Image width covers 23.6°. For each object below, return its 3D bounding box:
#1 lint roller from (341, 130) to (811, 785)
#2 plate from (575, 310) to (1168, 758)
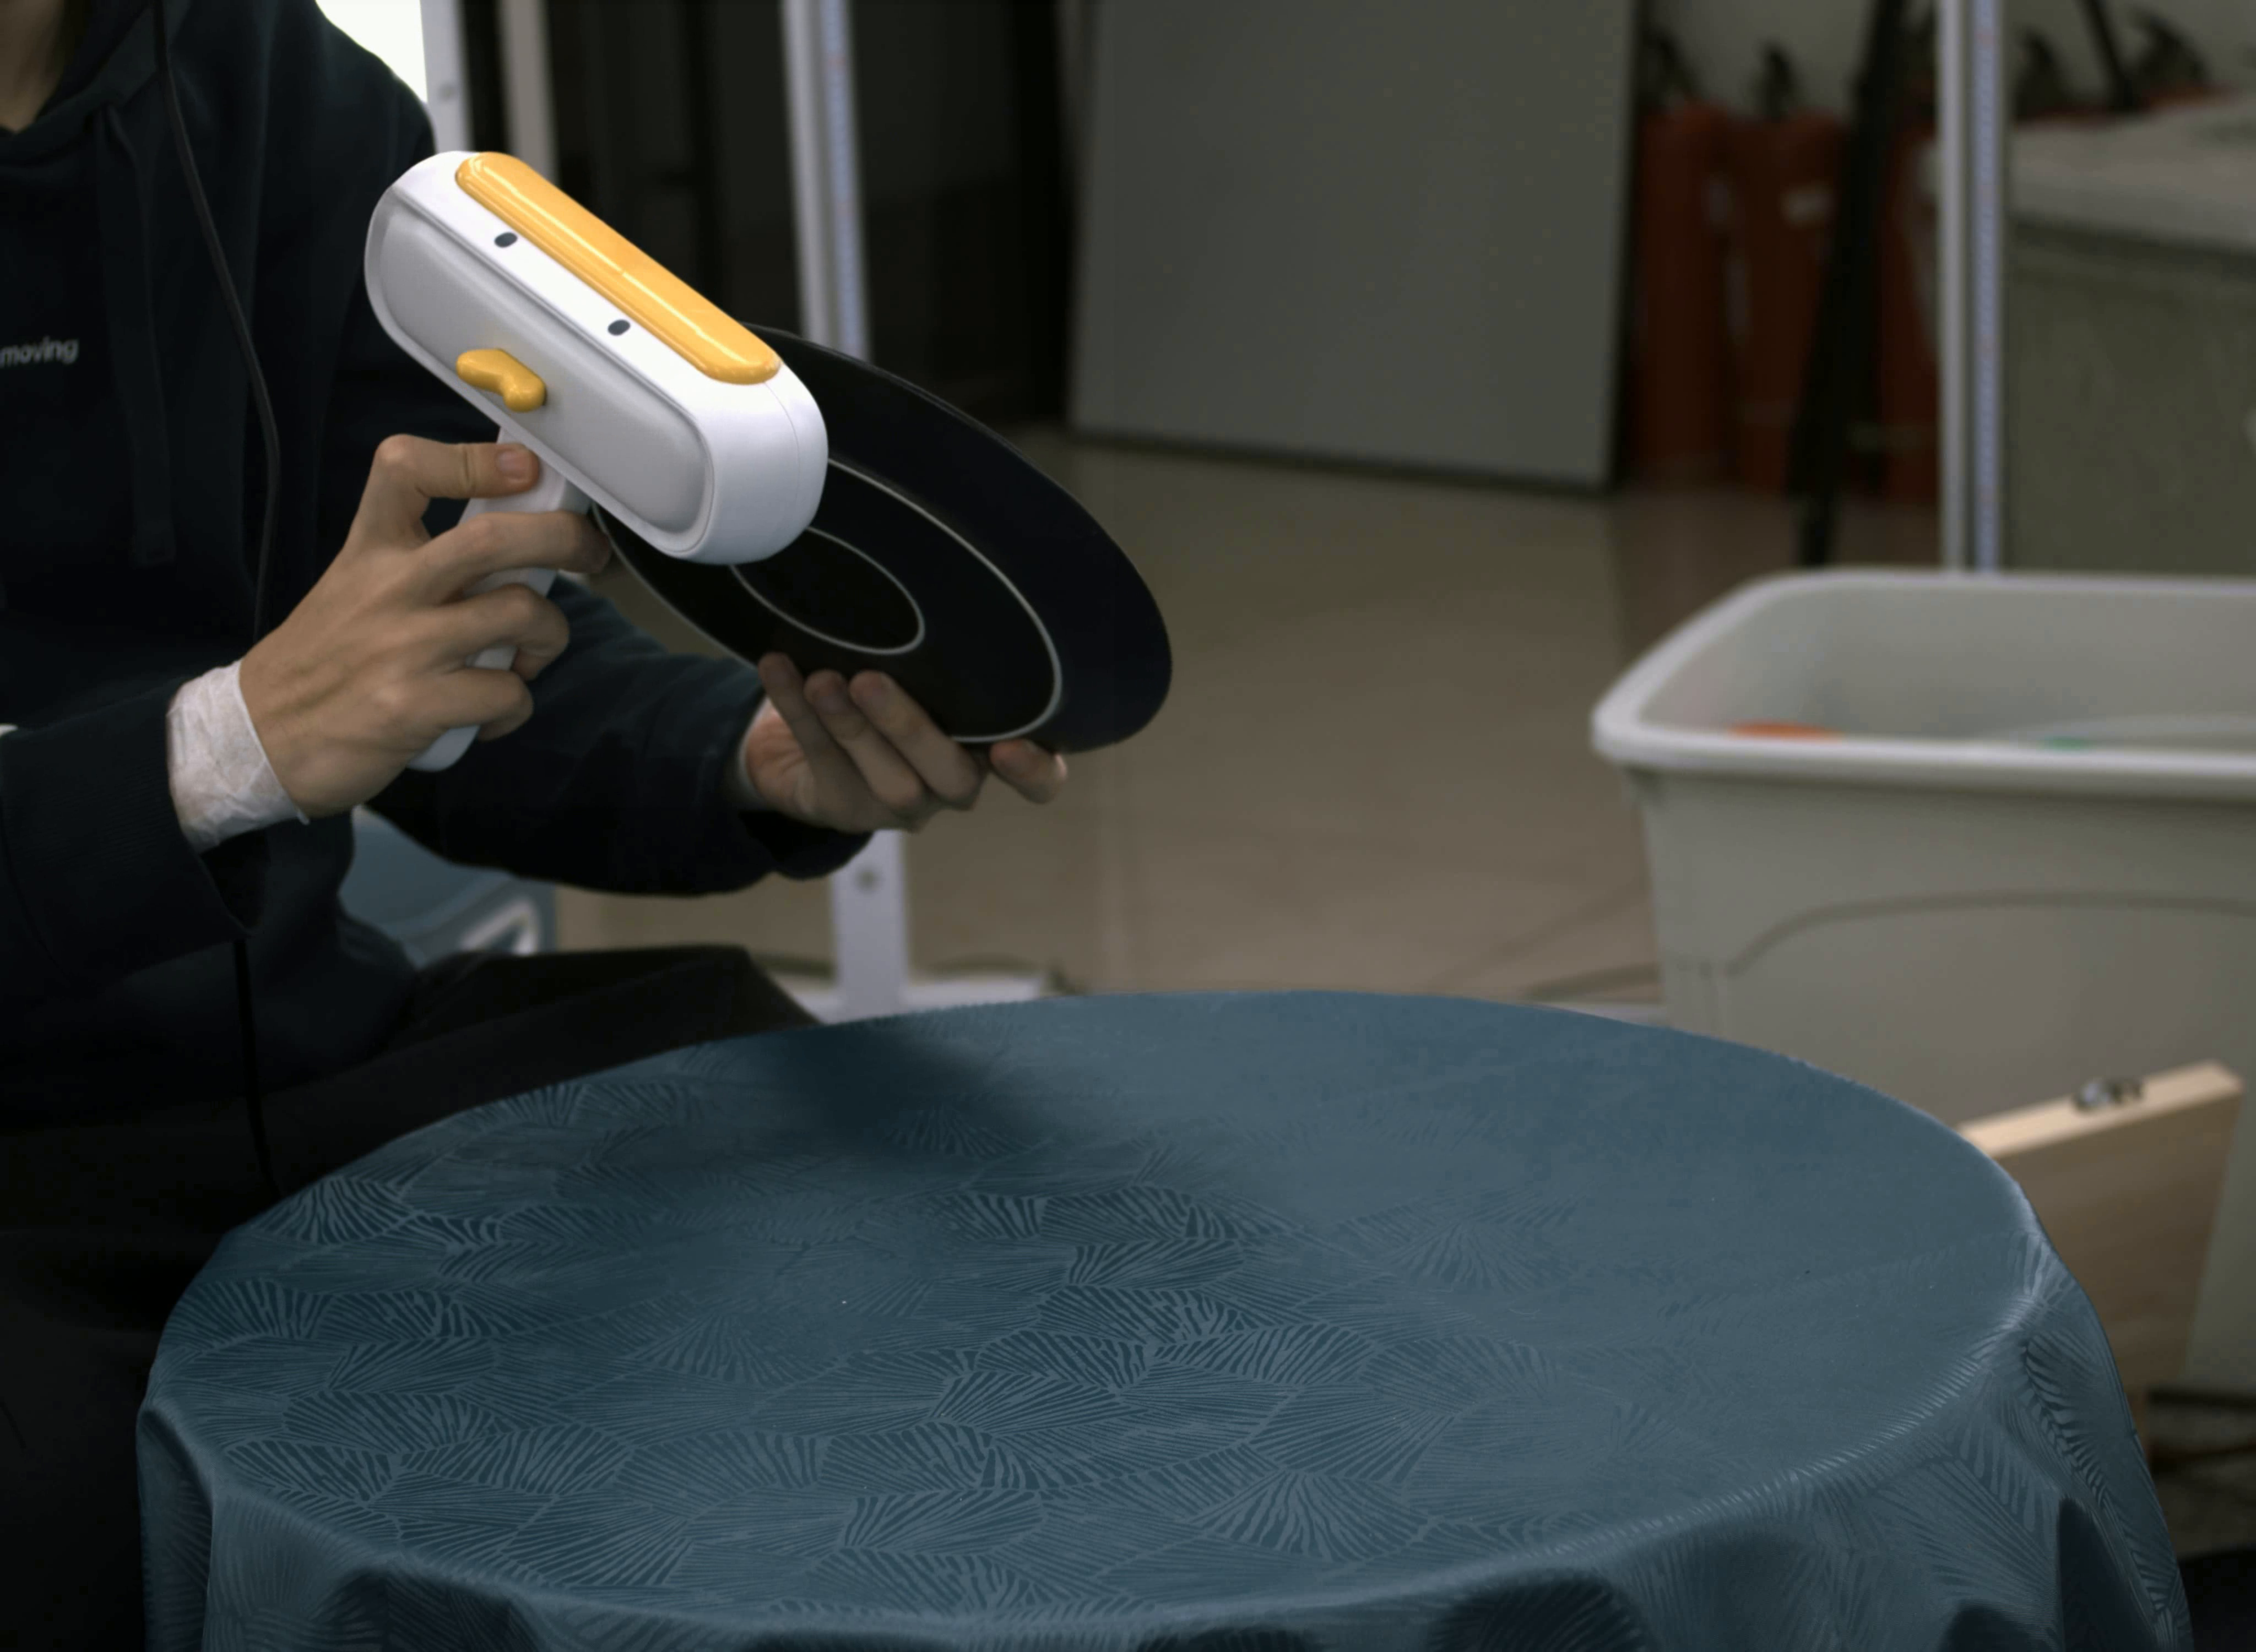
[{"bbox_3d":[-0.196,-0.105,1.765,0.194,0.194,0.073,31,31,29],"label":"lint roller"},{"bbox_3d":[-0.100,-0.091,1.840,0.246,0.242,0.023,7,58,37],"label":"plate"}]
